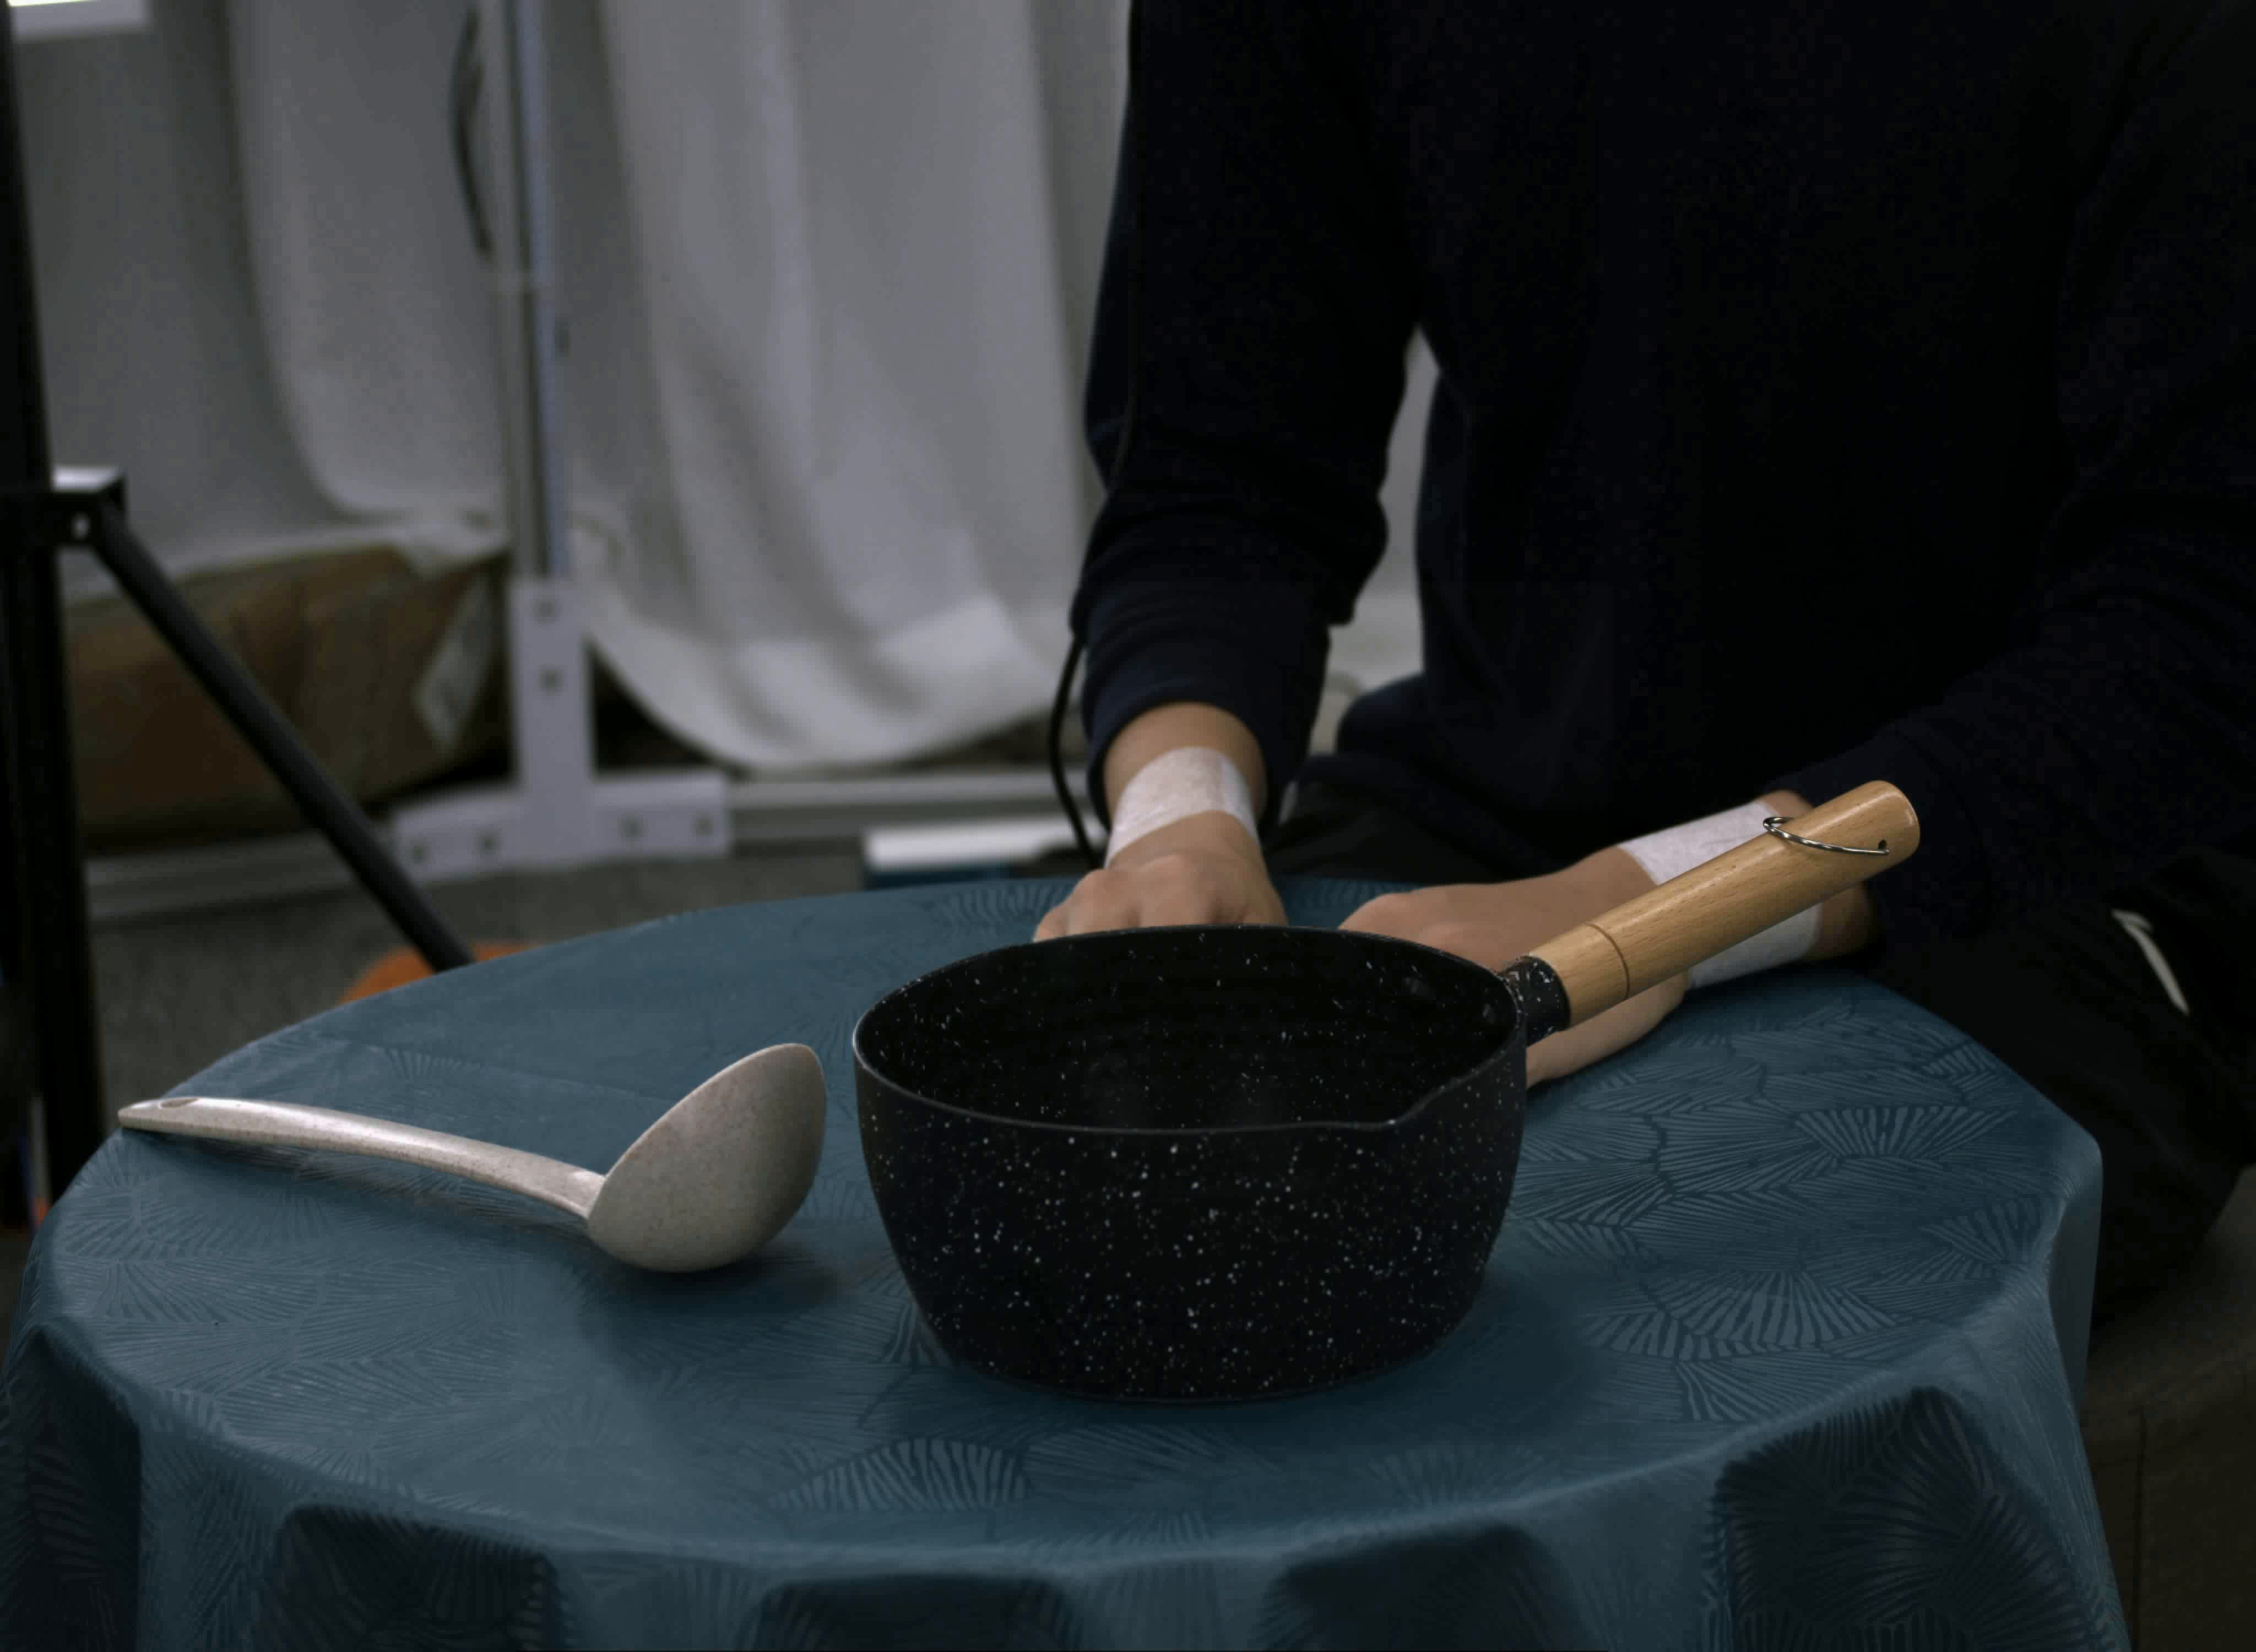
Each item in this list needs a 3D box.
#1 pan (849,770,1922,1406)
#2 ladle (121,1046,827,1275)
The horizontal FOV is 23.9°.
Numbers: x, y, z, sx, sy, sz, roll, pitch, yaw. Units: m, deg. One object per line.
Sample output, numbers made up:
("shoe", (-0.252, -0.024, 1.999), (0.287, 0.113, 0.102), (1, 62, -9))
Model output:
("pan", (0.084, 0.068, 1.487), (0.335, 0.108, 0.212), (-13, 17, -29))
("ladle", (-0.204, 0.077, 1.574), (0.281, 0.069, 0.087), (11, 25, 38))
